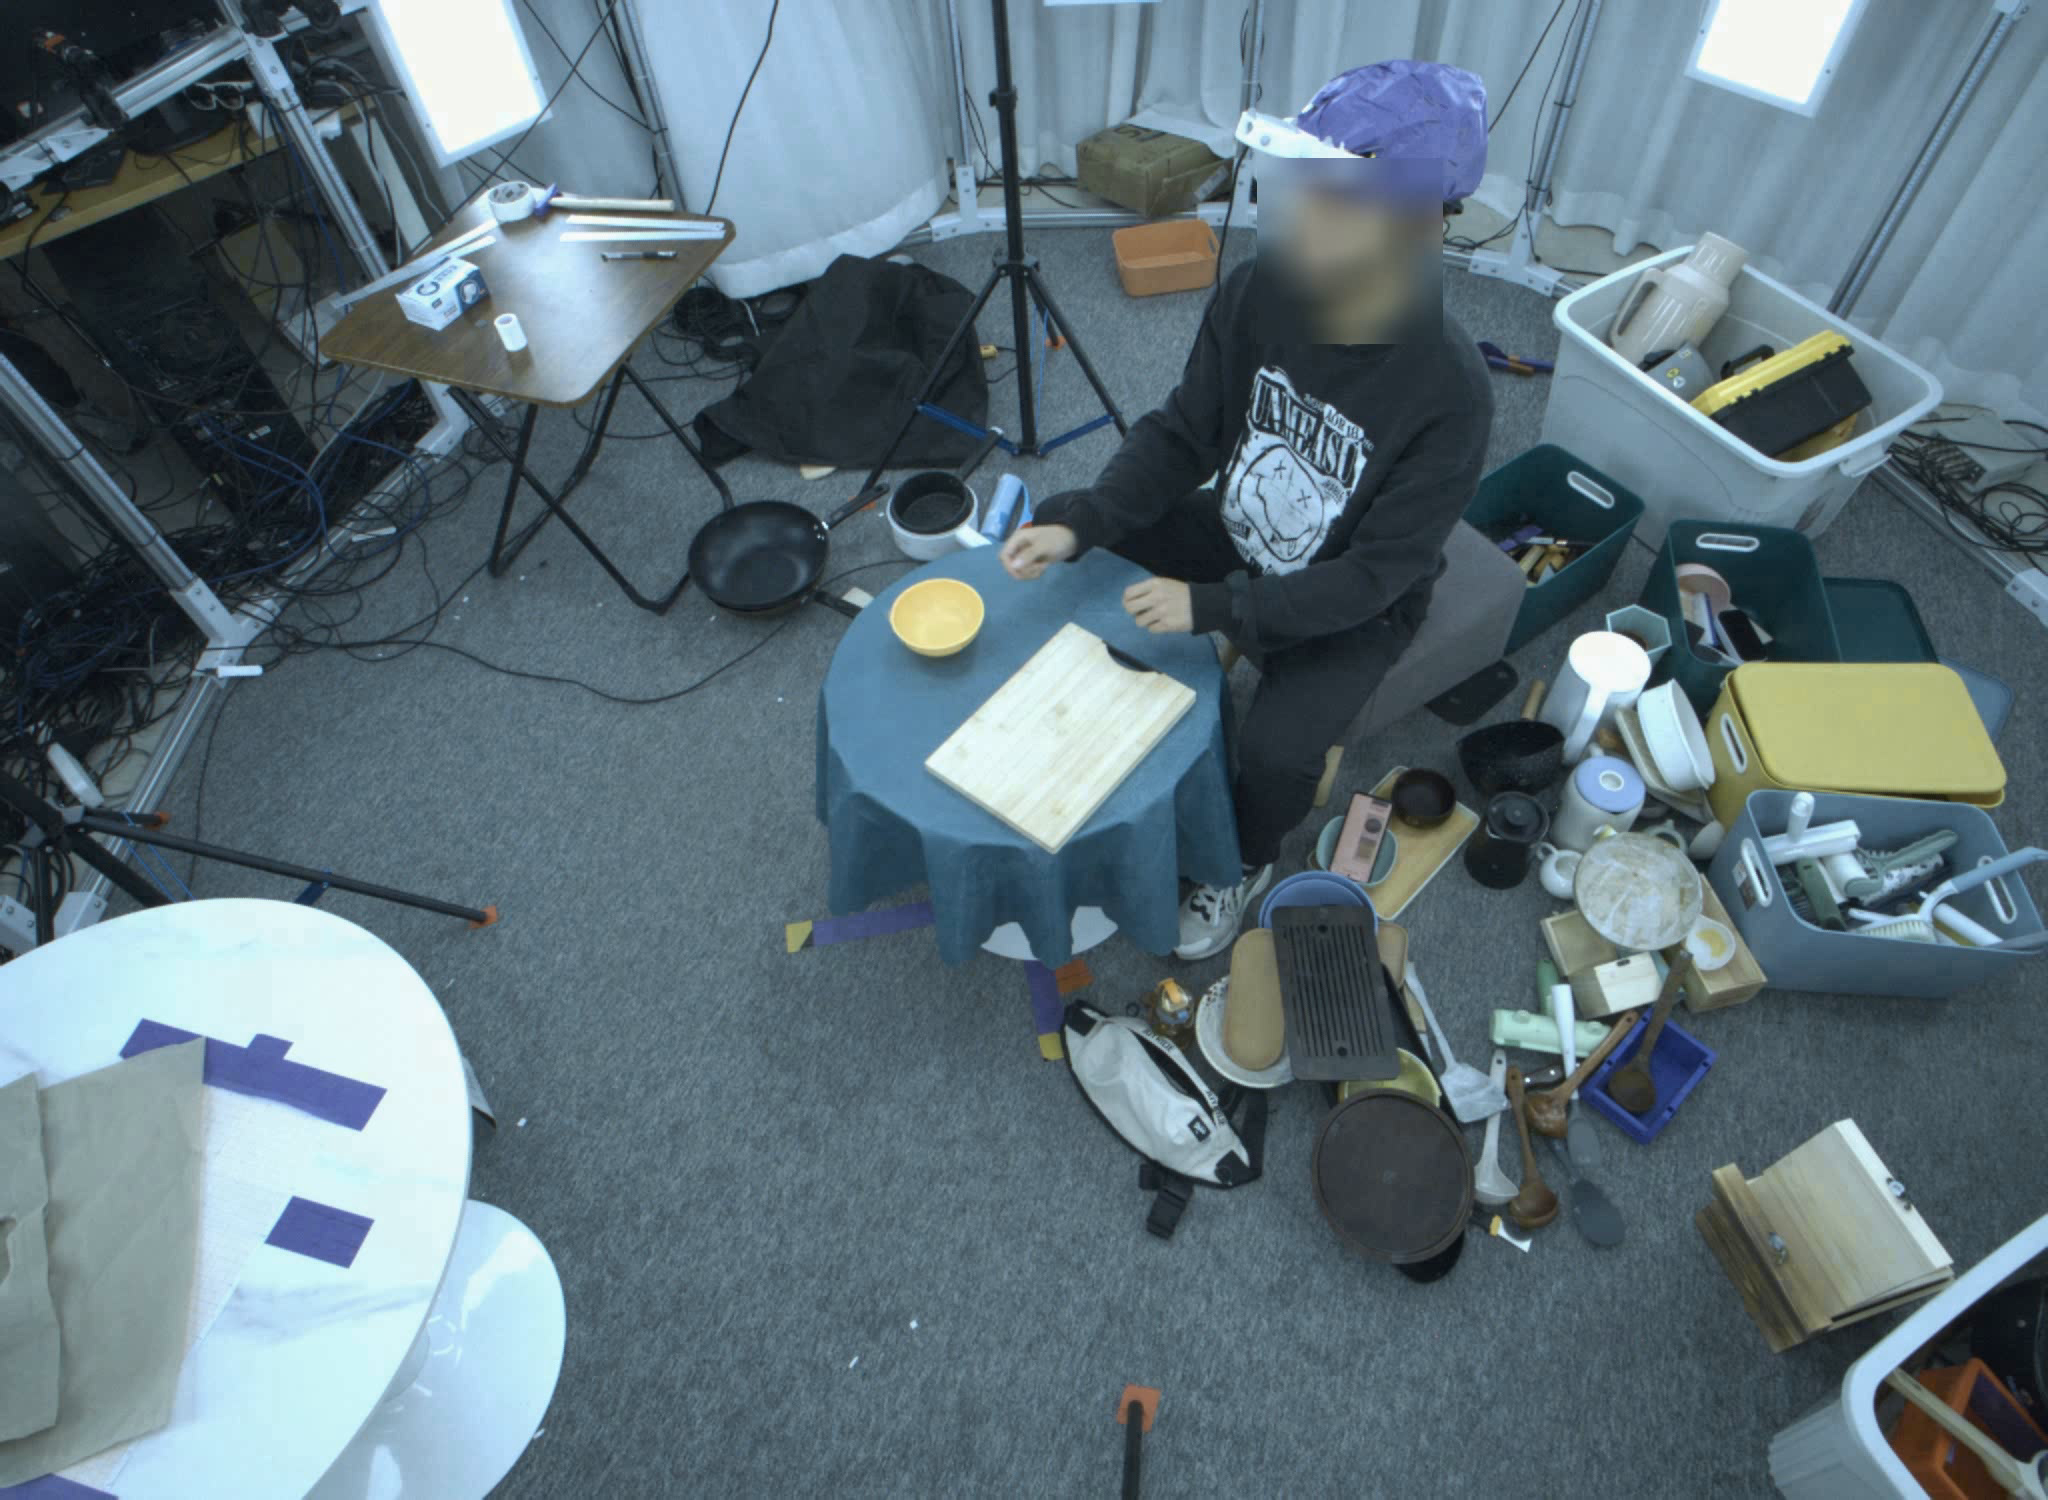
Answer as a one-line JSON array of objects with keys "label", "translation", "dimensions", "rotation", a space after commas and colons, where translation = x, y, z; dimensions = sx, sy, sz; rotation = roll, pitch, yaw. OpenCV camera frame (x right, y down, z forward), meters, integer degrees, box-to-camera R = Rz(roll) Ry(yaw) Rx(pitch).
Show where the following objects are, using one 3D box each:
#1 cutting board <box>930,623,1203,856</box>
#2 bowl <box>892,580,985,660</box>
[{"label": "cutting board", "translation": [0.063, -0.026, 1.804], "dimensions": [0.247, 0.024, 0.350], "rotation": [32, 62, 21]}, {"label": "bowl", "translation": [-0.131, -0.190, 1.901], "dimensions": [0.145, 0.060, 0.144], "rotation": [1, 57, 0]}]
